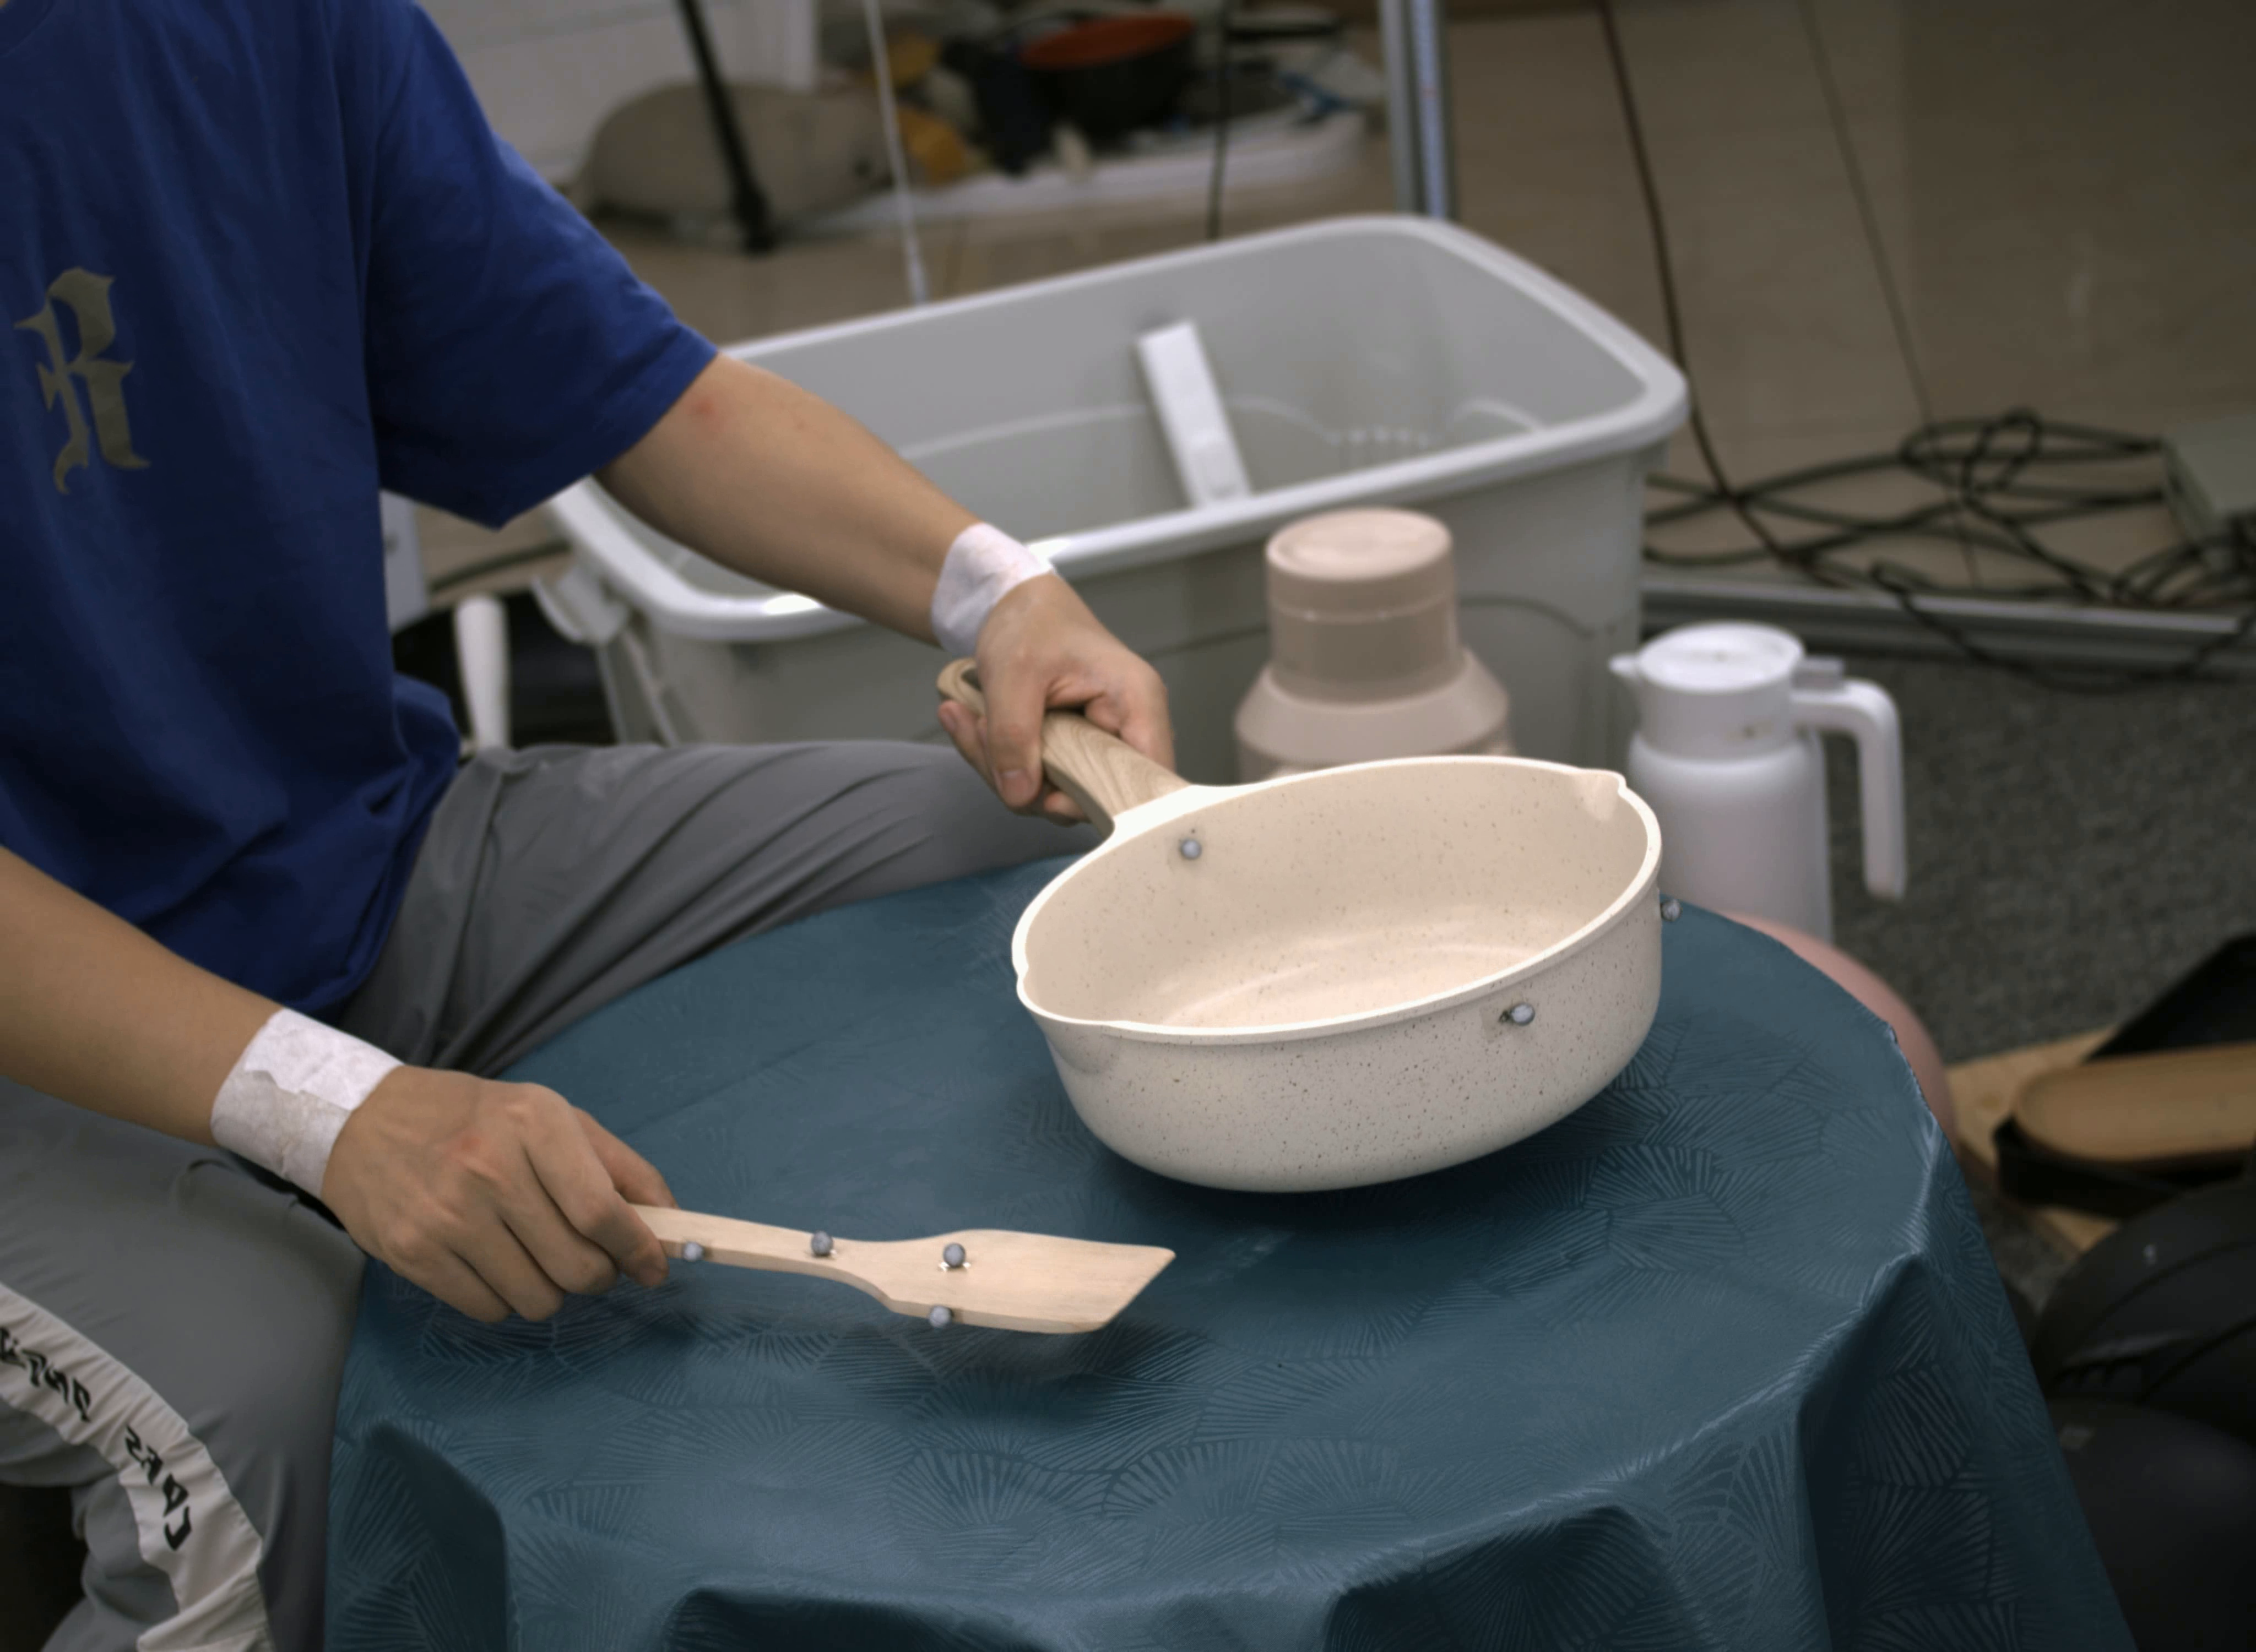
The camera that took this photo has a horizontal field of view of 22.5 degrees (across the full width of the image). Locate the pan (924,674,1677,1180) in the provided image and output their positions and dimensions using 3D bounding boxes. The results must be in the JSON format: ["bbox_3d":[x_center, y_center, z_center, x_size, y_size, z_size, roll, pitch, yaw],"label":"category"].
[{"bbox_3d":[0.044,0.028,2.237,0.262,0.103,0.431,-24,24,-24],"label":"pan"}]

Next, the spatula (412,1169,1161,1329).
[{"bbox_3d":[-0.133,0.151,2.074,0.292,0.011,0.071,6,22,23],"label":"spatula"}]
